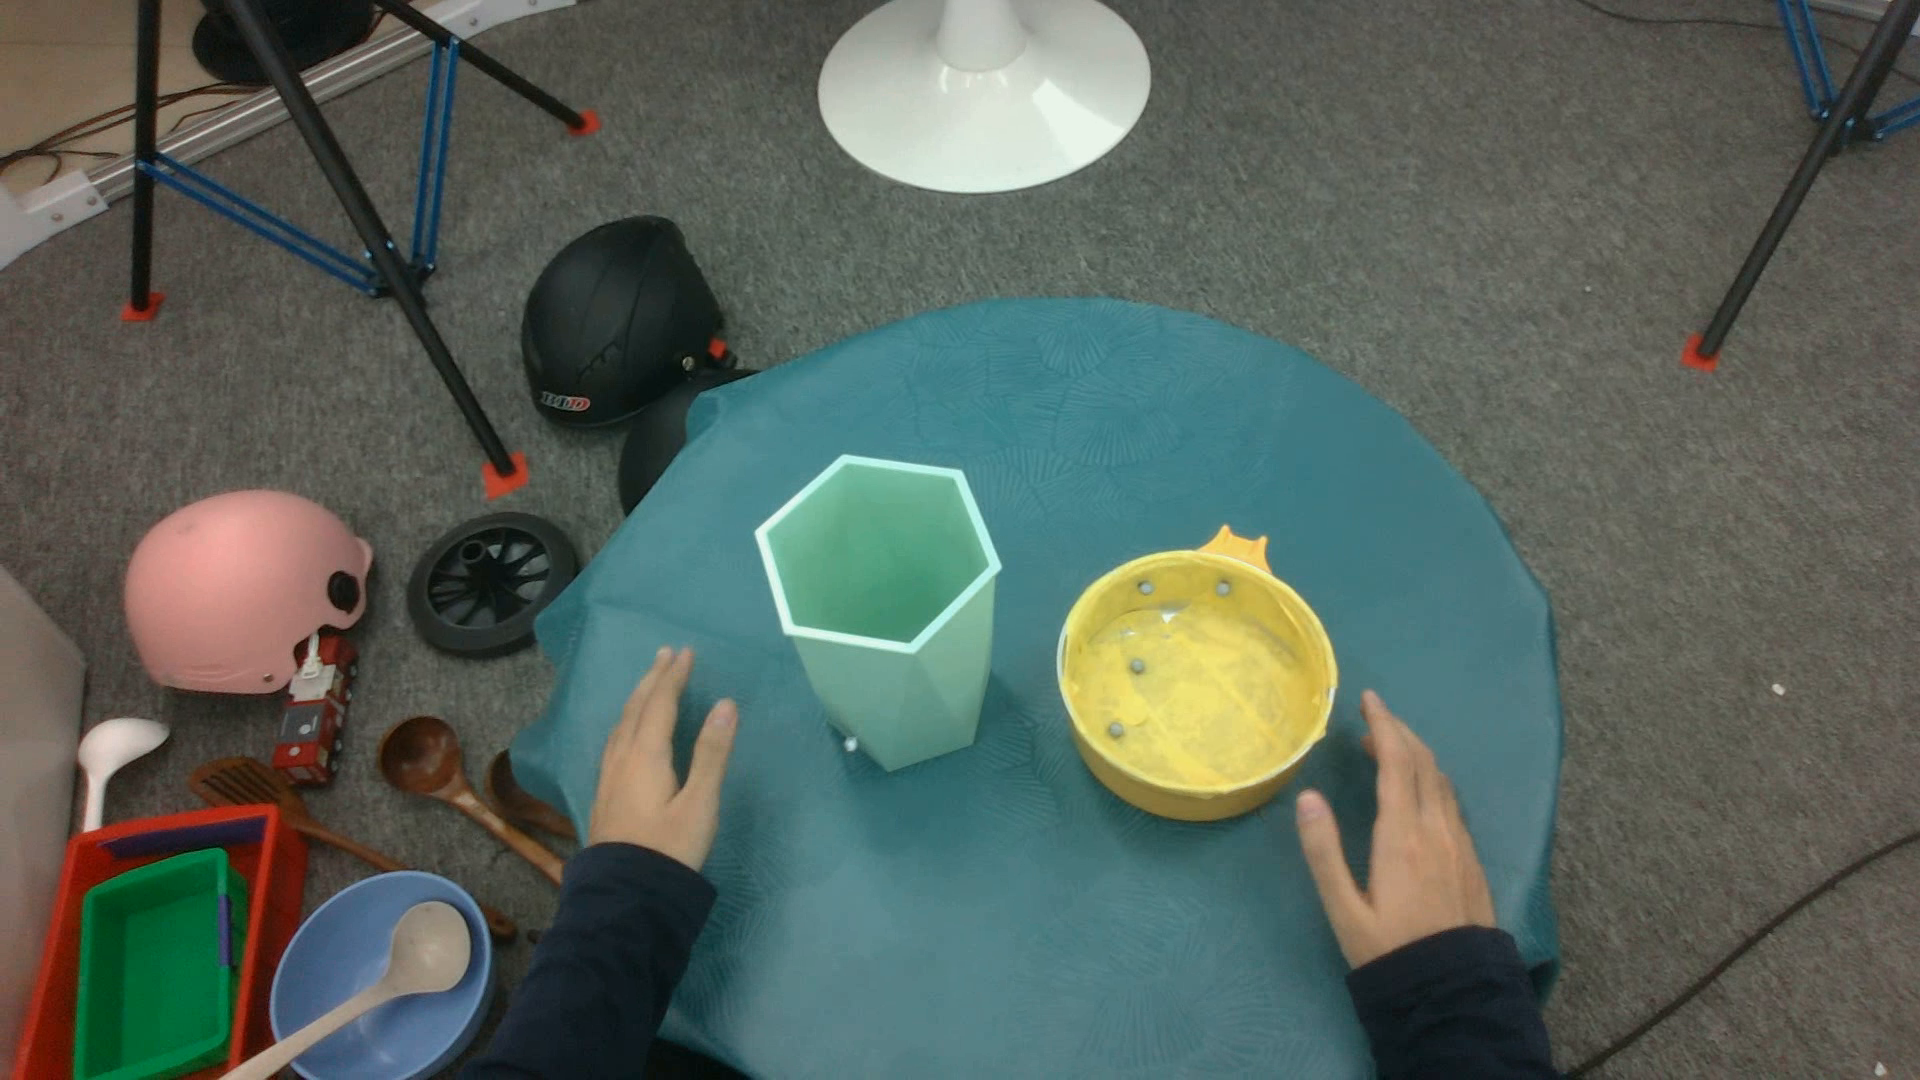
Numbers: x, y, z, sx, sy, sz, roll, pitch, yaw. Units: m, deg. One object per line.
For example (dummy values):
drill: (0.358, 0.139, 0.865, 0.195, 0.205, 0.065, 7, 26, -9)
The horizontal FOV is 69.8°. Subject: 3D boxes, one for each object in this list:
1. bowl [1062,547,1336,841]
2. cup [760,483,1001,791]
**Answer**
bowl: (0.141, 0.089, 0.804, 0.153, 0.074, 0.180, 14, 59, 15)
cup: (-0.034, 0.061, 0.781, 0.131, 0.162, 0.115, 4, 57, 10)
